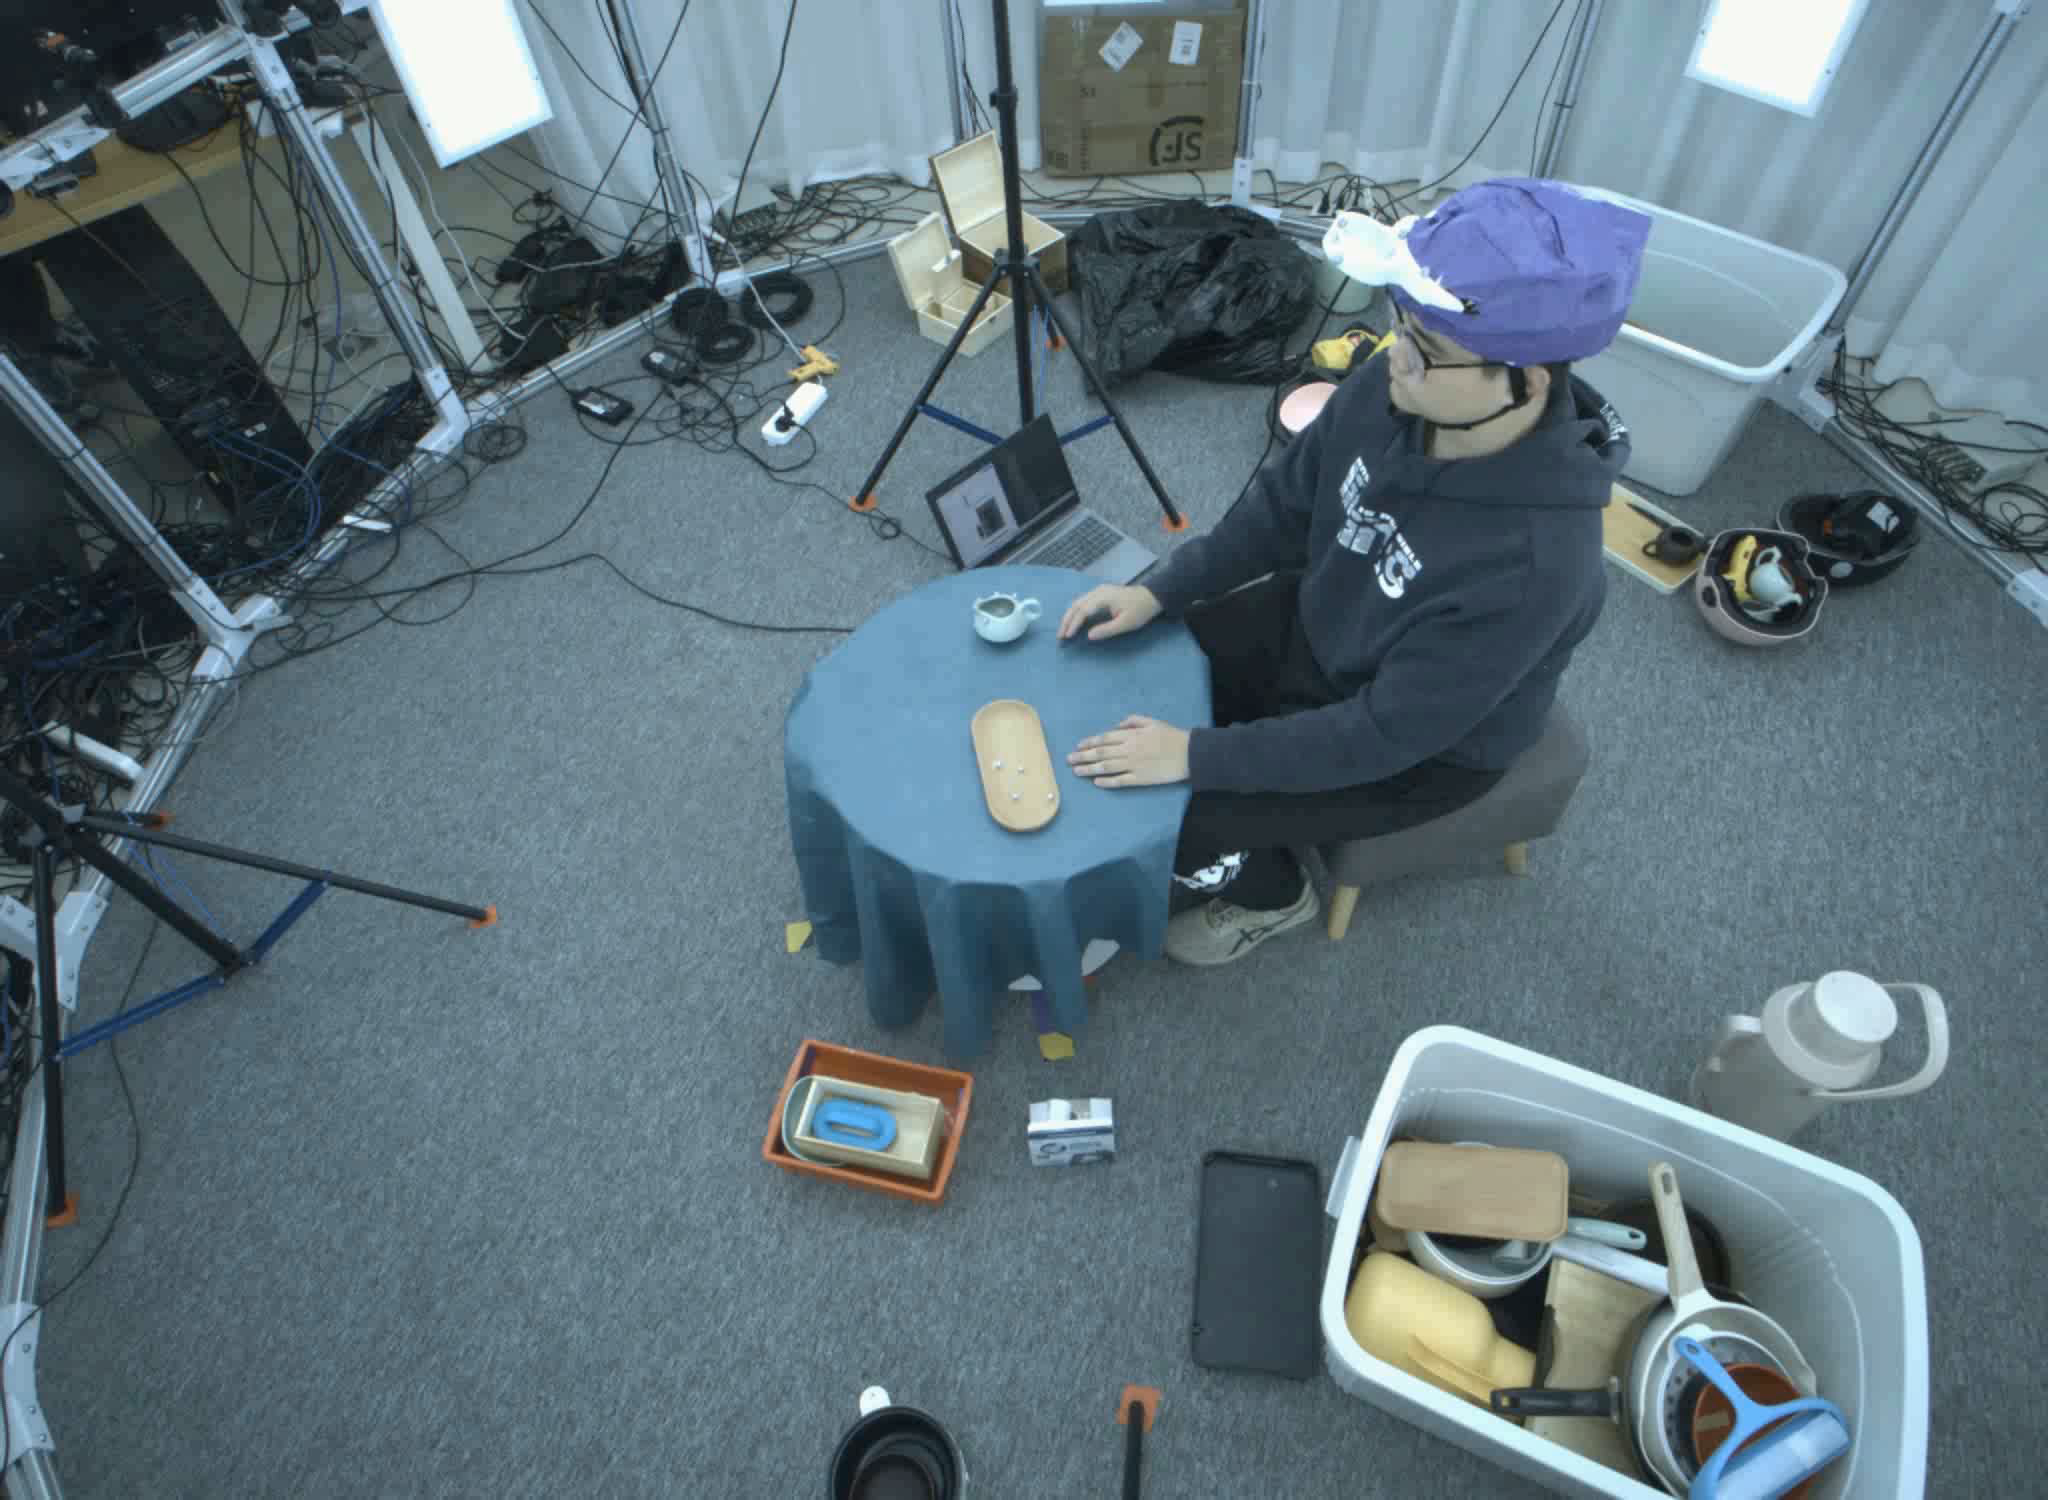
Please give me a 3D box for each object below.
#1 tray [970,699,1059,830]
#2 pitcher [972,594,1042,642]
[{"bbox_3d":[-0.014,0.018,1.766,0.102,0.020,0.227,-10,53,-7],"label":"tray"},{"bbox_3d":[-0.027,-0.209,1.902,0.108,0.061,0.085,-3,56,-3],"label":"pitcher"}]
